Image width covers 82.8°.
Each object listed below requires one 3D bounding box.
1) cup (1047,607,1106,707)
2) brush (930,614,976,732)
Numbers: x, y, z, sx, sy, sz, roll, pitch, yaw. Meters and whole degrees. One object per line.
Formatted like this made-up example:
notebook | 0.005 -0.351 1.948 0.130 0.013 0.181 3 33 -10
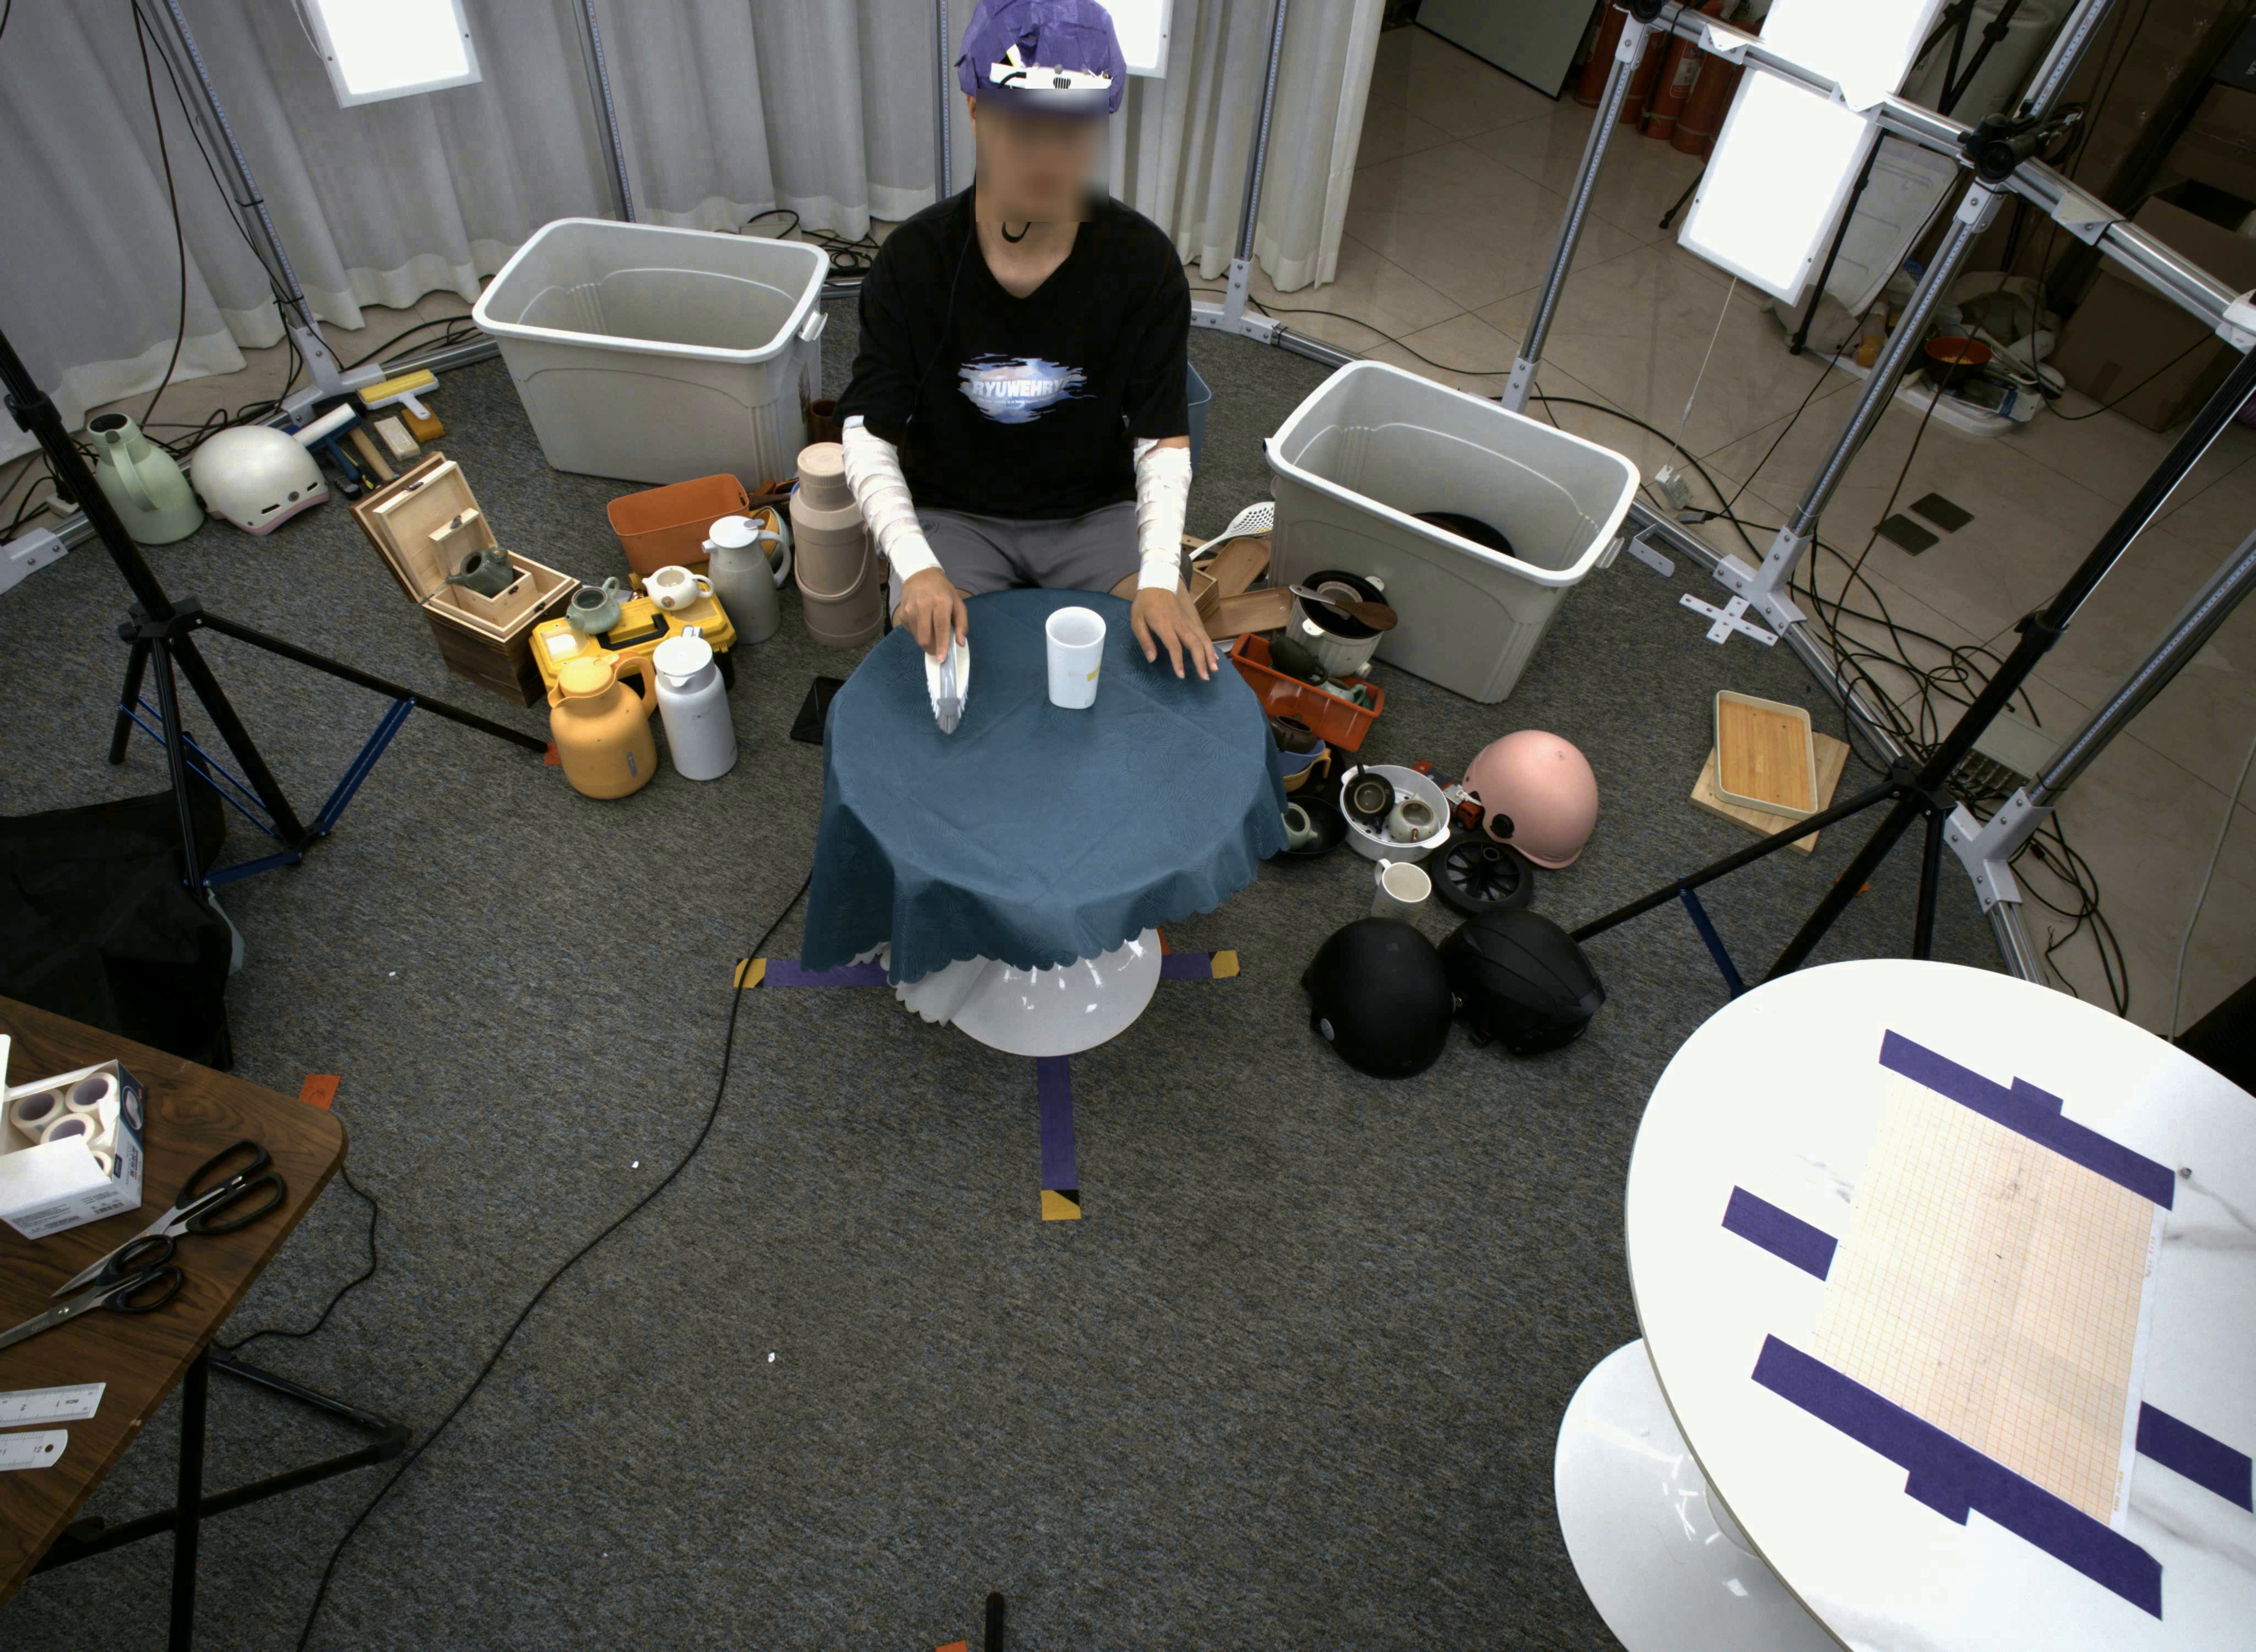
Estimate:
cup | -0.072 -0.232 1.787 0.081 0.122 0.084 1 51 -2
brush | -0.243 -0.220 1.770 0.061 0.092 0.180 -4 49 -2
